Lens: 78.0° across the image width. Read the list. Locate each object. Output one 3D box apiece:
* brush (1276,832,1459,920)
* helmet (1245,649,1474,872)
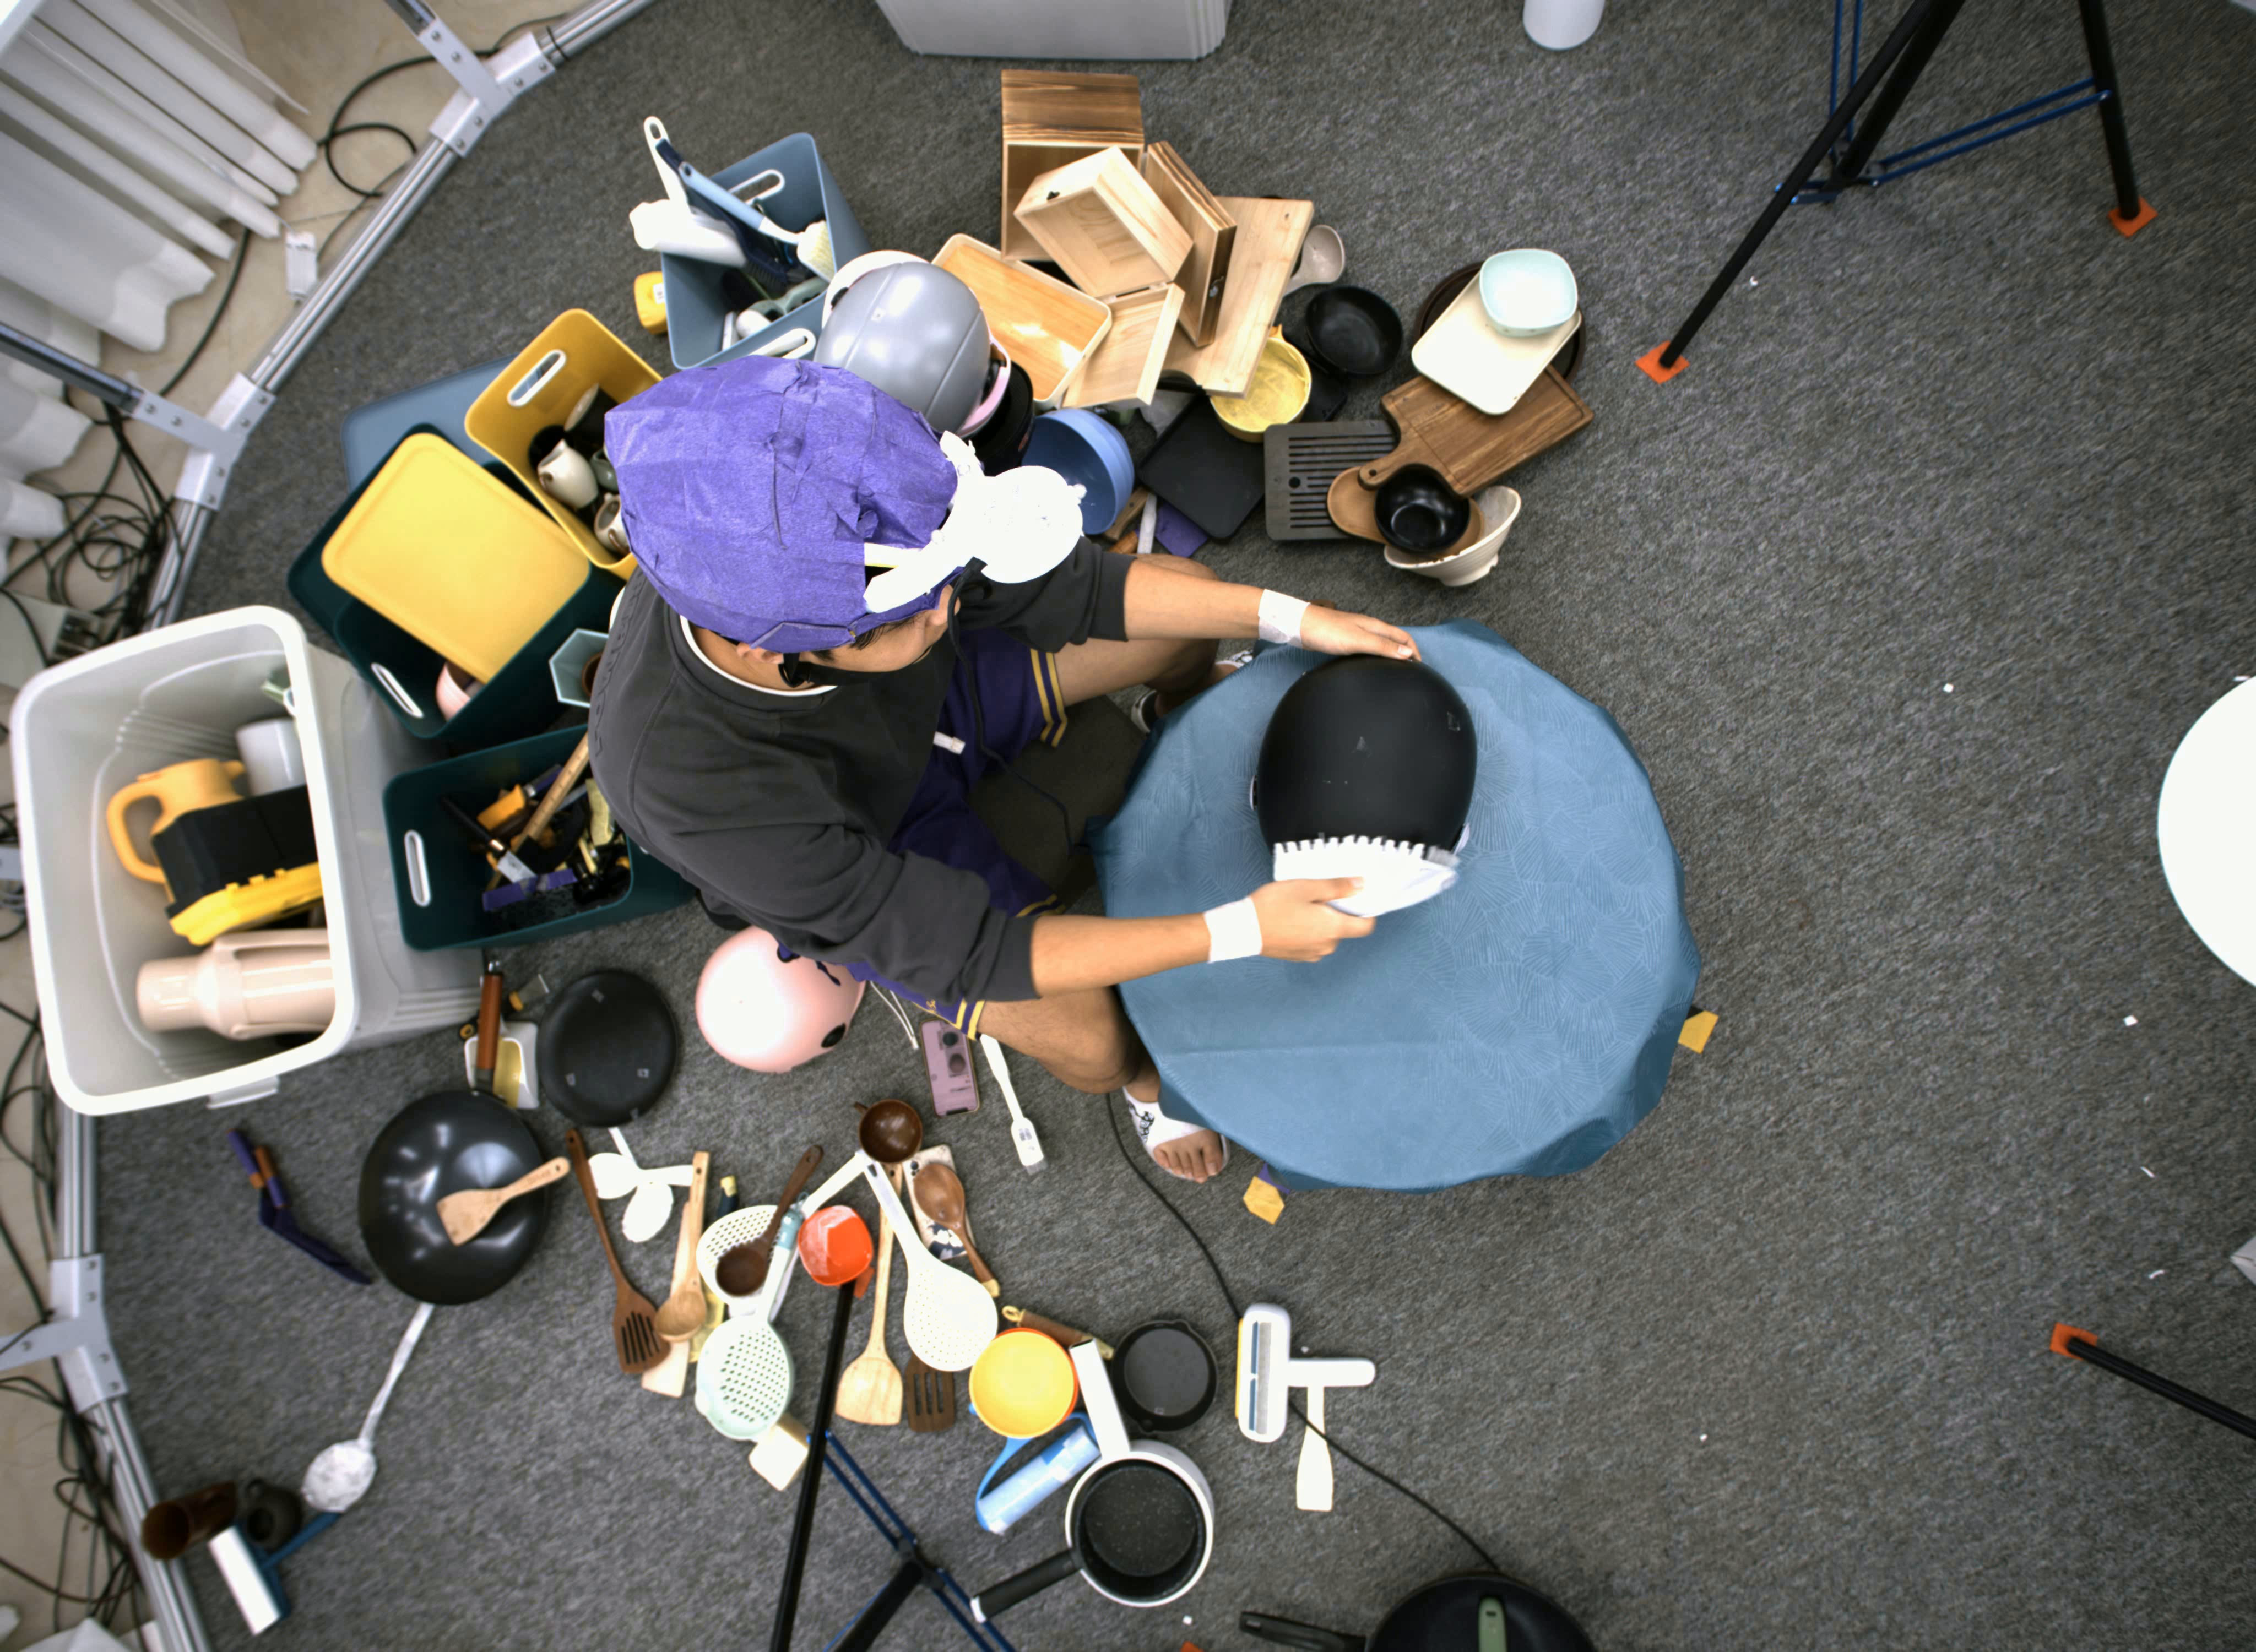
[{"bbox_3d":[0.227,0.050,1.306,0.176,0.092,0.063,-2,125,9],"label":"brush"},{"bbox_3d":[0.235,-0.054,1.391,0.230,0.166,0.273,15,91,12],"label":"helmet"}]
